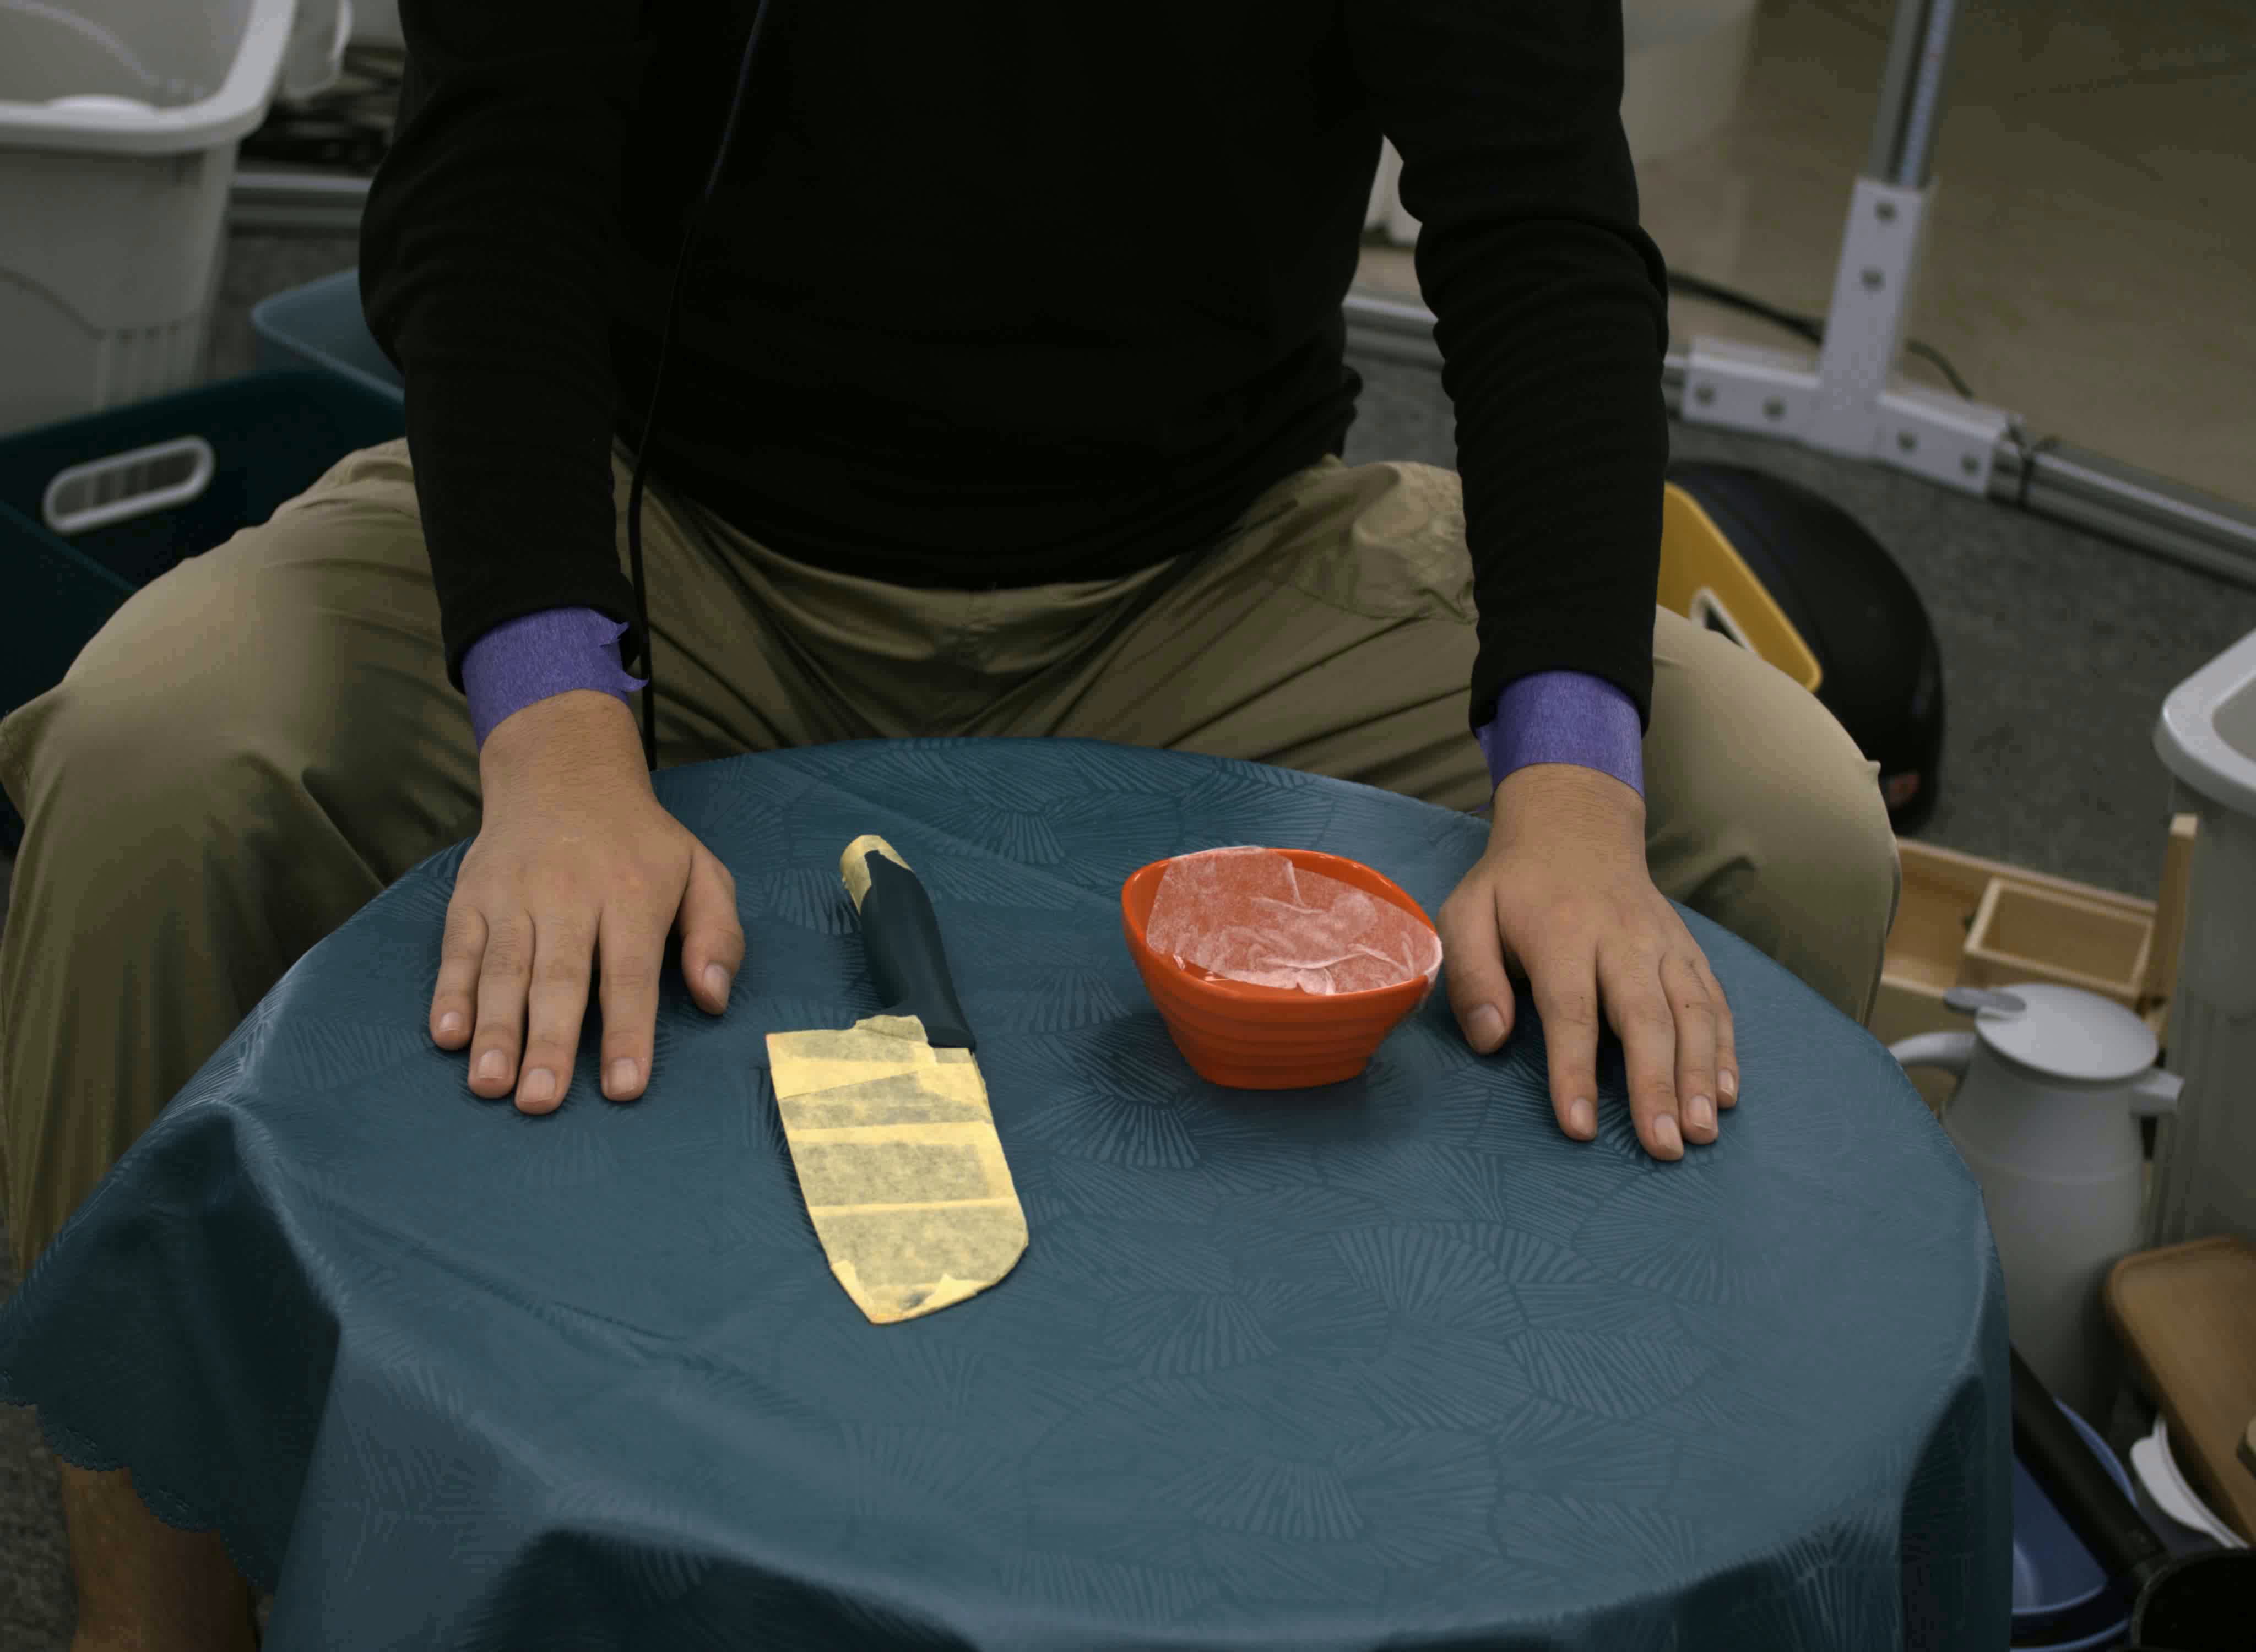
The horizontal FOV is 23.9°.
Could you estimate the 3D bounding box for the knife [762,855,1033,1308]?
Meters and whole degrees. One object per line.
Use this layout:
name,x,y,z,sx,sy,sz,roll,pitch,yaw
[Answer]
knife,-0.085,0.086,1.844,0.080,0.027,0.292,3,28,-11

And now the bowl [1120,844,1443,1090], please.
bowl,0.052,0.054,1.895,0.118,0.051,0.119,4,28,-3
